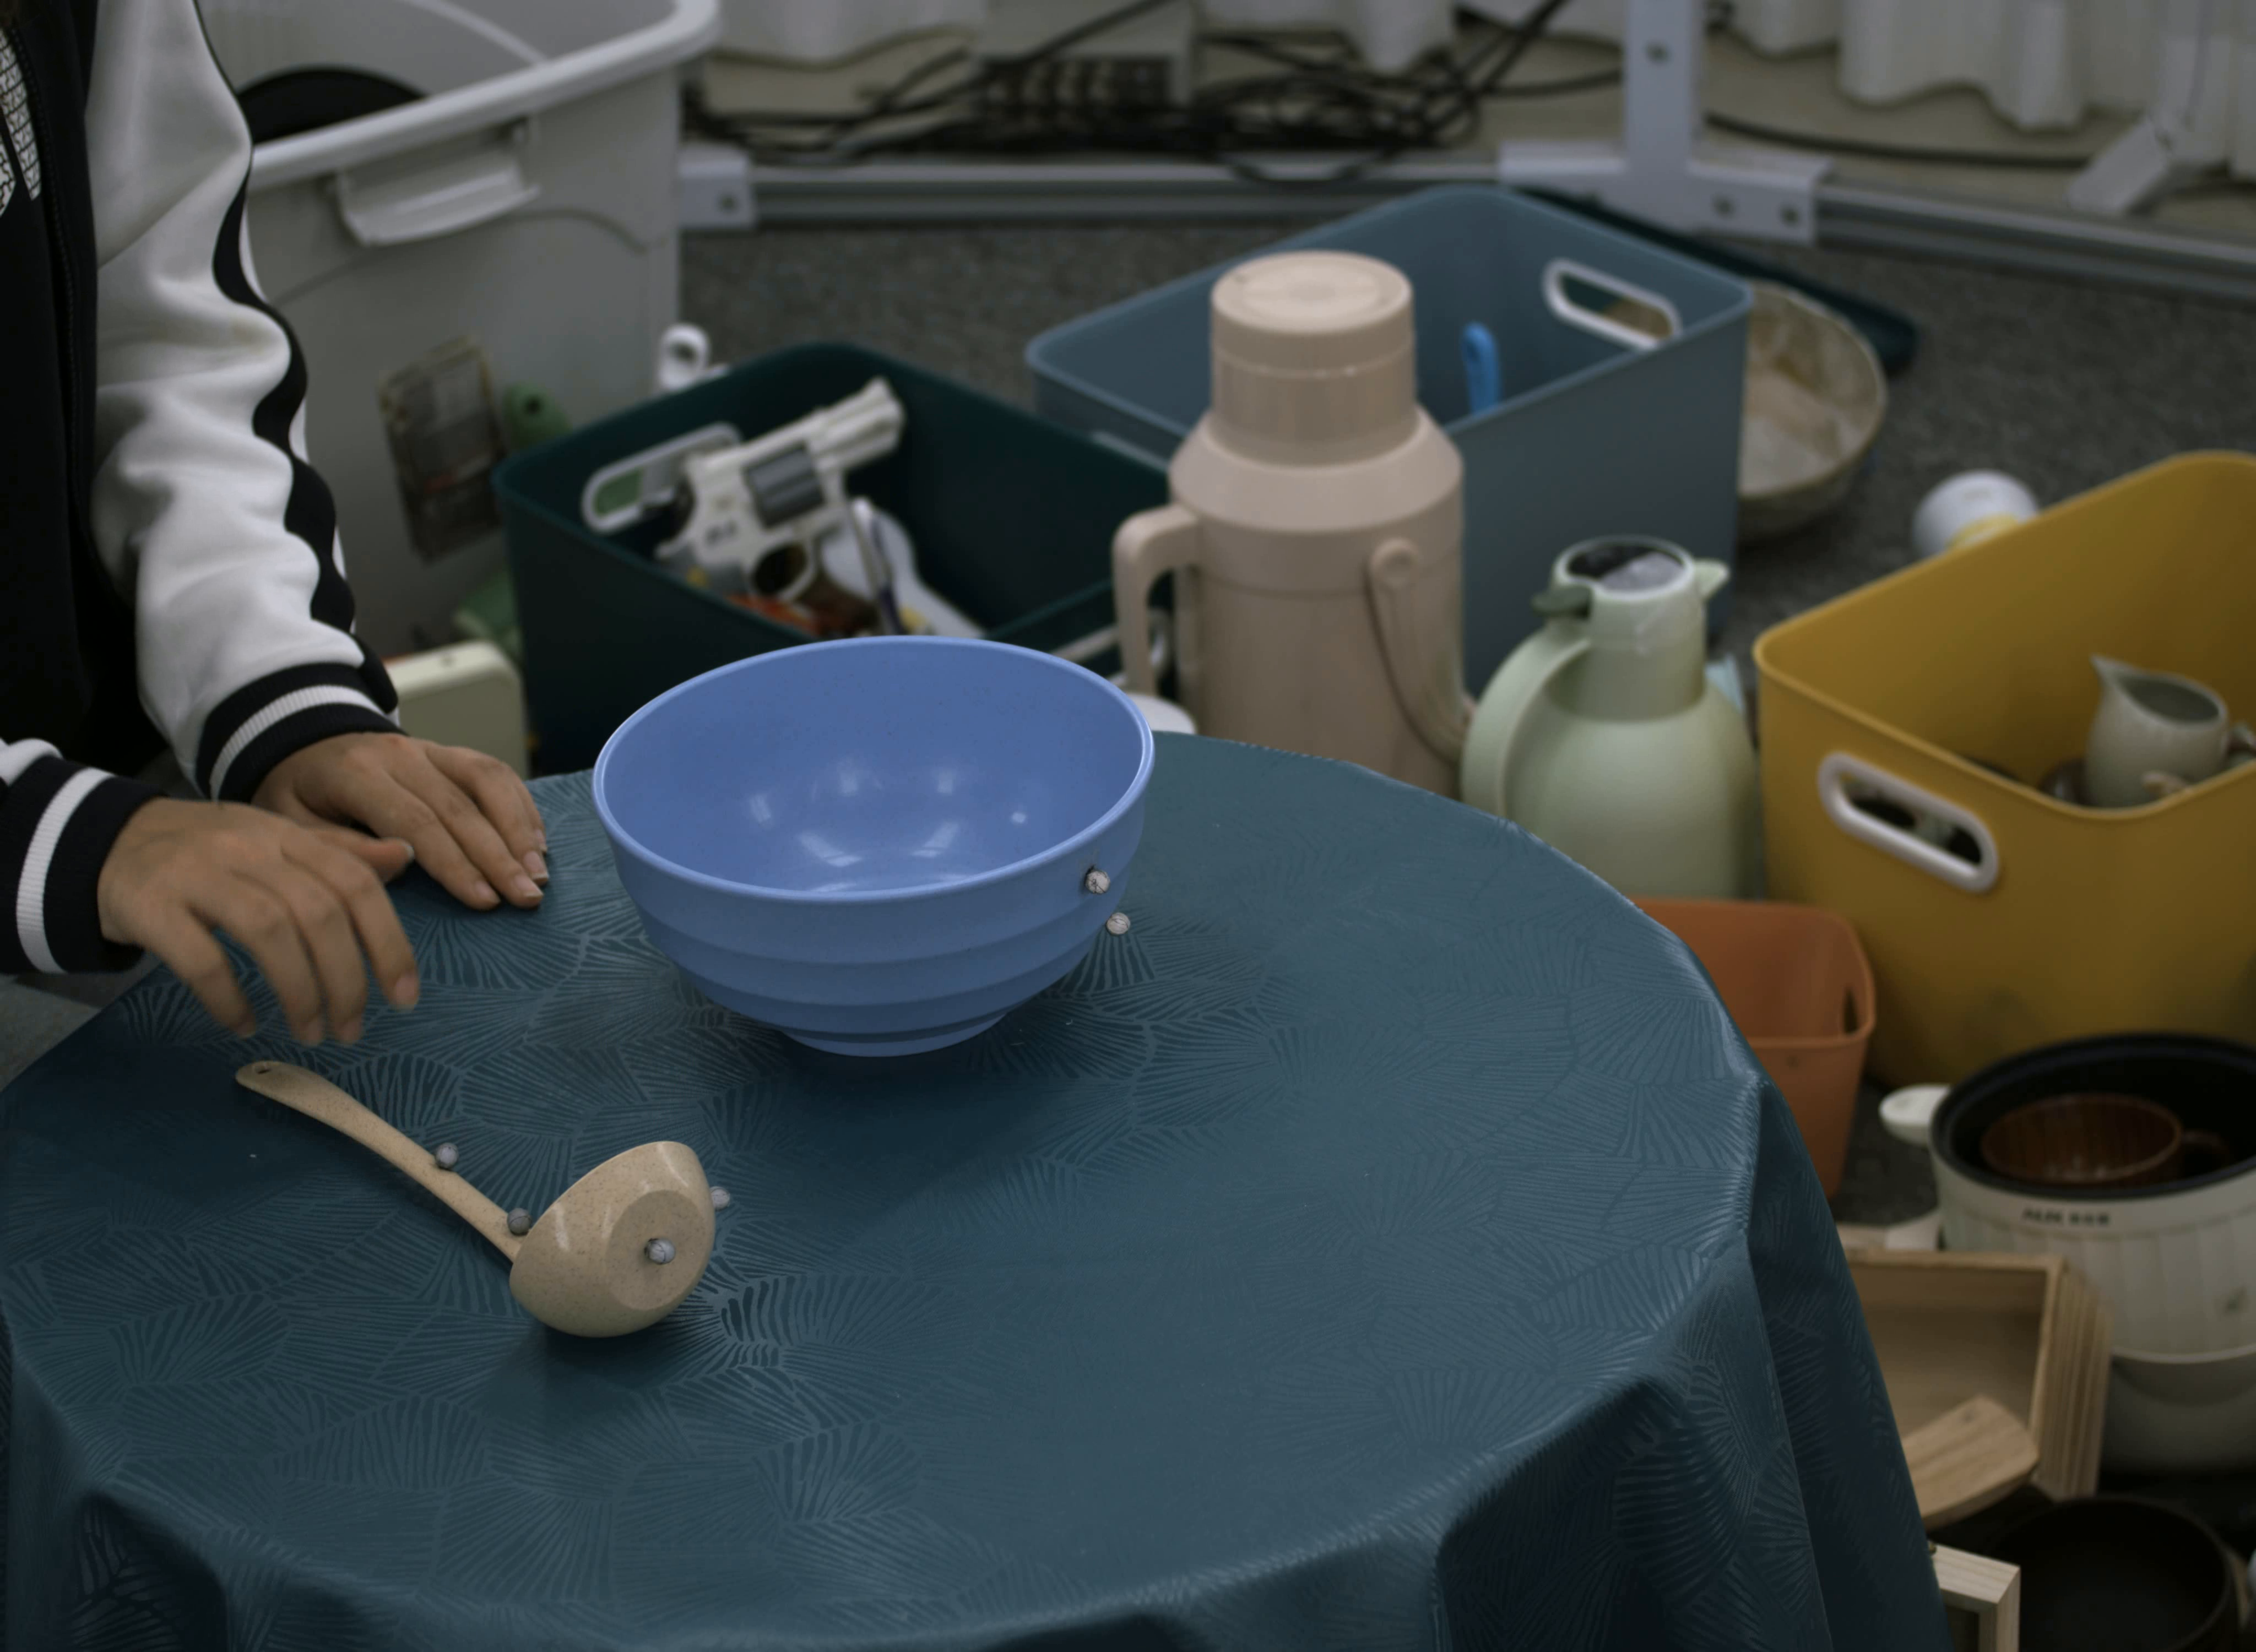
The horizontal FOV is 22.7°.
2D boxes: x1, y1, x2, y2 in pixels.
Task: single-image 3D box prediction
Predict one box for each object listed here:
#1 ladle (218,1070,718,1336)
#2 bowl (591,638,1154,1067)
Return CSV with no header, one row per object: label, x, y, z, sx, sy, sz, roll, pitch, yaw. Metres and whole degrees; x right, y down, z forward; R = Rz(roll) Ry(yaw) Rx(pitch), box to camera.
ladle,-0.230,0.097,1.853,0.073,0.072,0.254,-23,33,-36
bowl,-0.085,0.021,1.970,0.195,0.094,0.199,-3,28,2
